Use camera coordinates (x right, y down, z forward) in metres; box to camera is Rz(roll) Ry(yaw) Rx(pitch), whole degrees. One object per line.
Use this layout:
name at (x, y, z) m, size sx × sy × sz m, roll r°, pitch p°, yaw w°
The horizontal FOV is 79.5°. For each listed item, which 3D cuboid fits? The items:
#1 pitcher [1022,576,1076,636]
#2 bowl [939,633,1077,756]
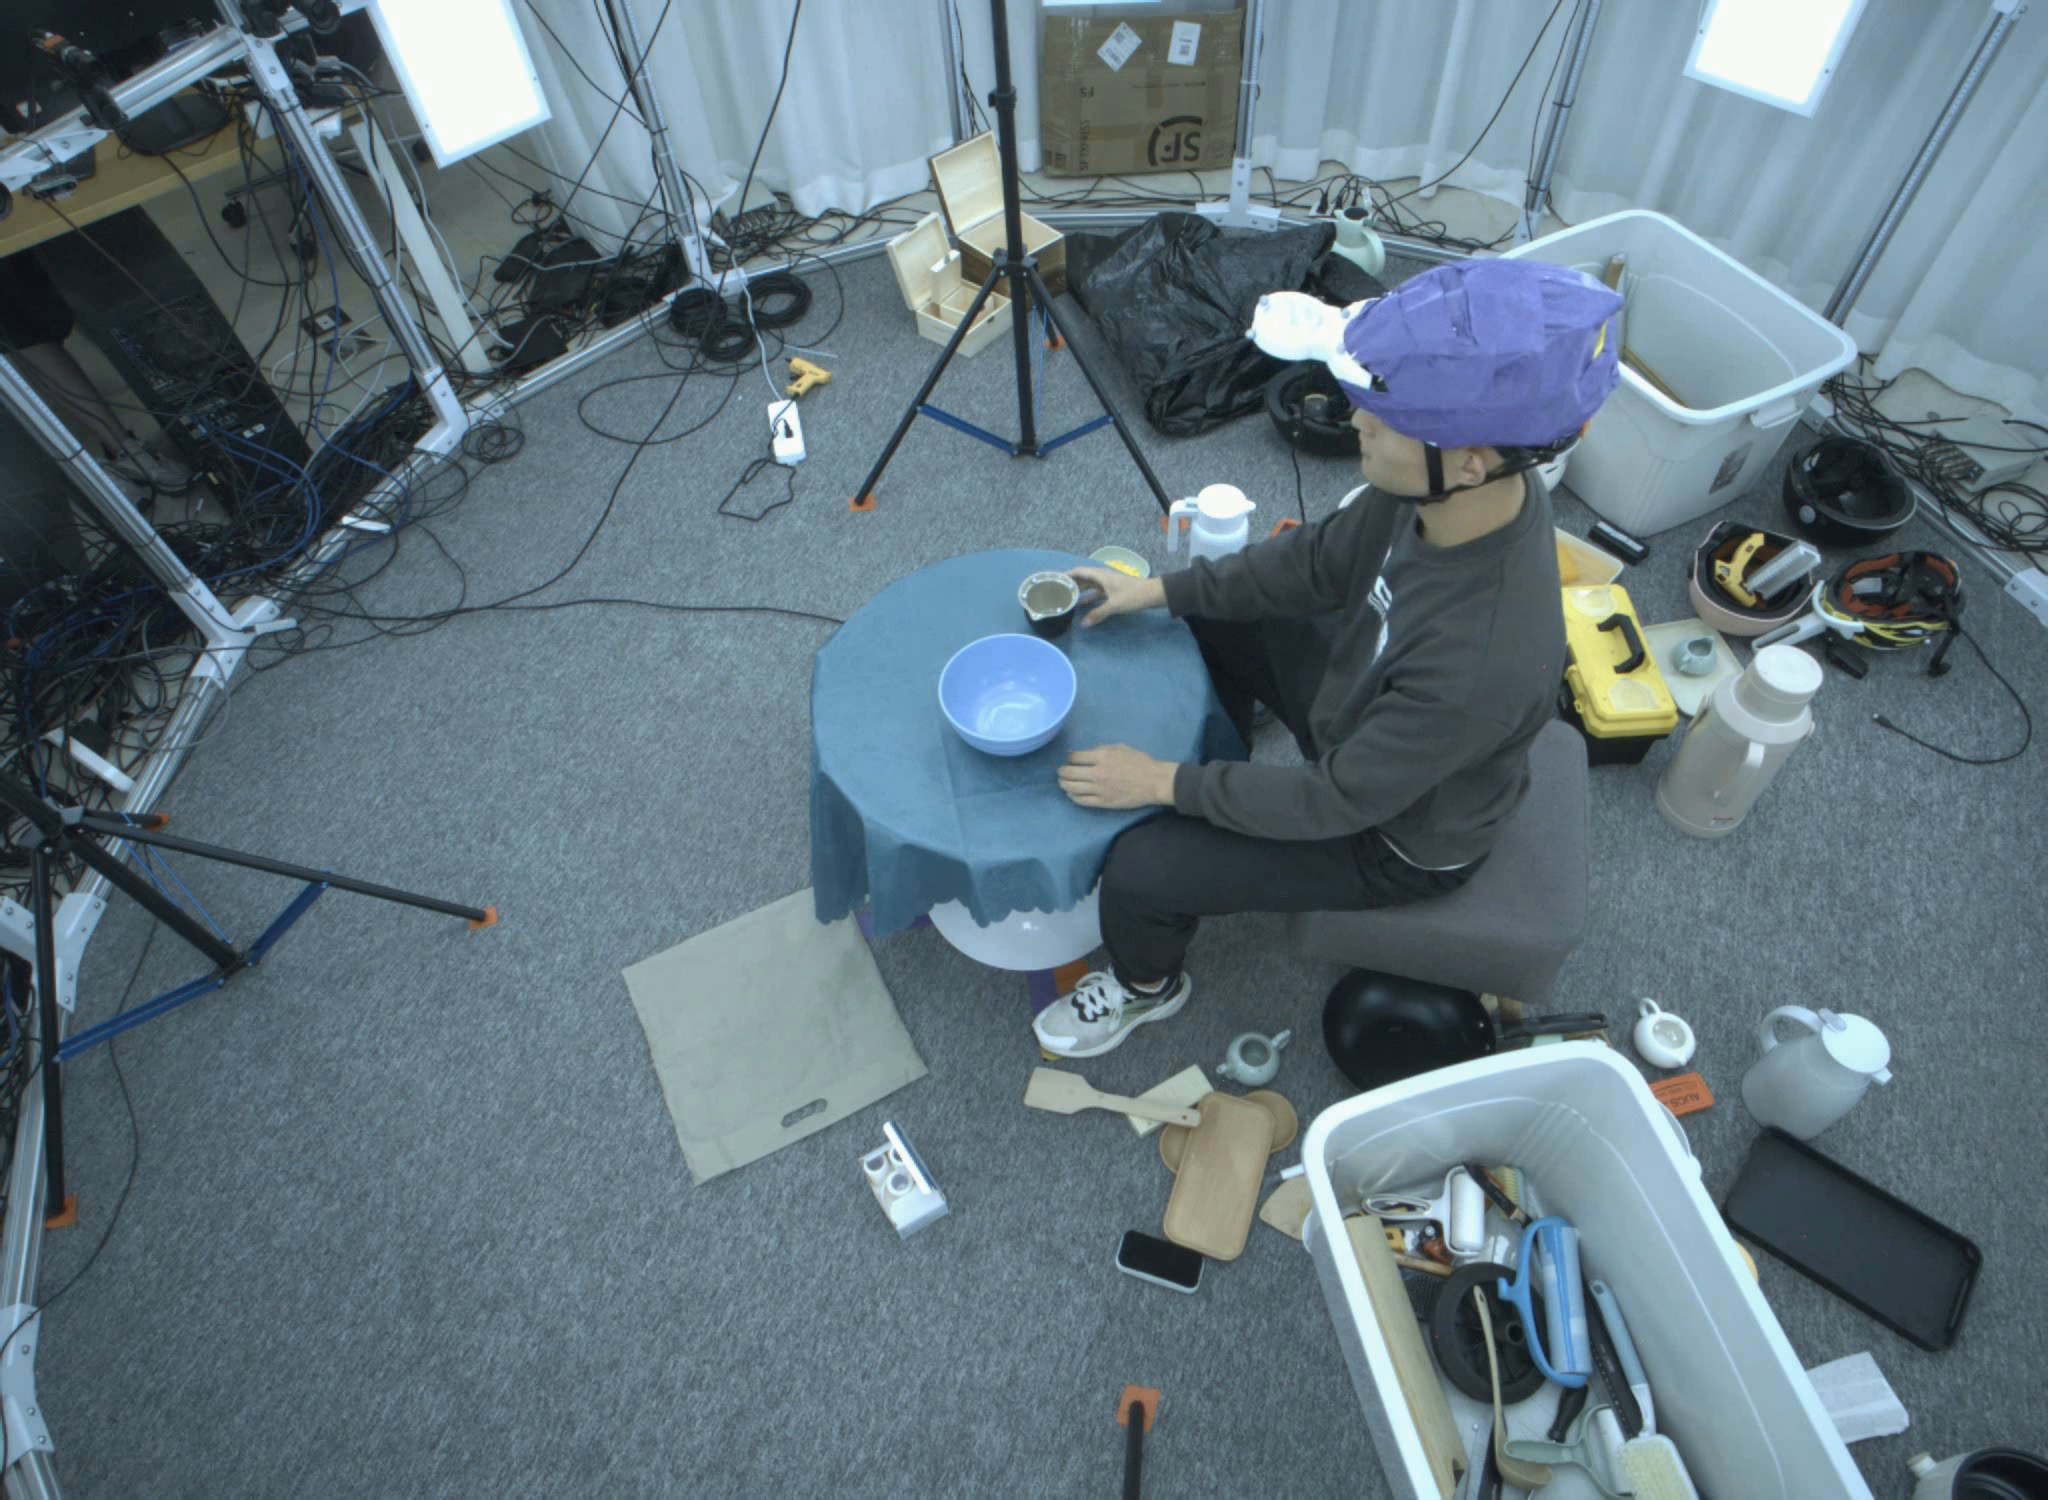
pitcher at (0.037, -0.214, 1.892) m, size 0.083 × 0.072 × 0.096 m, roll 18°, pitch 57°, yaw 14°
bowl at (-0.022, -0.065, 1.776) m, size 0.196 × 0.096 × 0.194 m, roll 0°, pitch 55°, yaw 1°
